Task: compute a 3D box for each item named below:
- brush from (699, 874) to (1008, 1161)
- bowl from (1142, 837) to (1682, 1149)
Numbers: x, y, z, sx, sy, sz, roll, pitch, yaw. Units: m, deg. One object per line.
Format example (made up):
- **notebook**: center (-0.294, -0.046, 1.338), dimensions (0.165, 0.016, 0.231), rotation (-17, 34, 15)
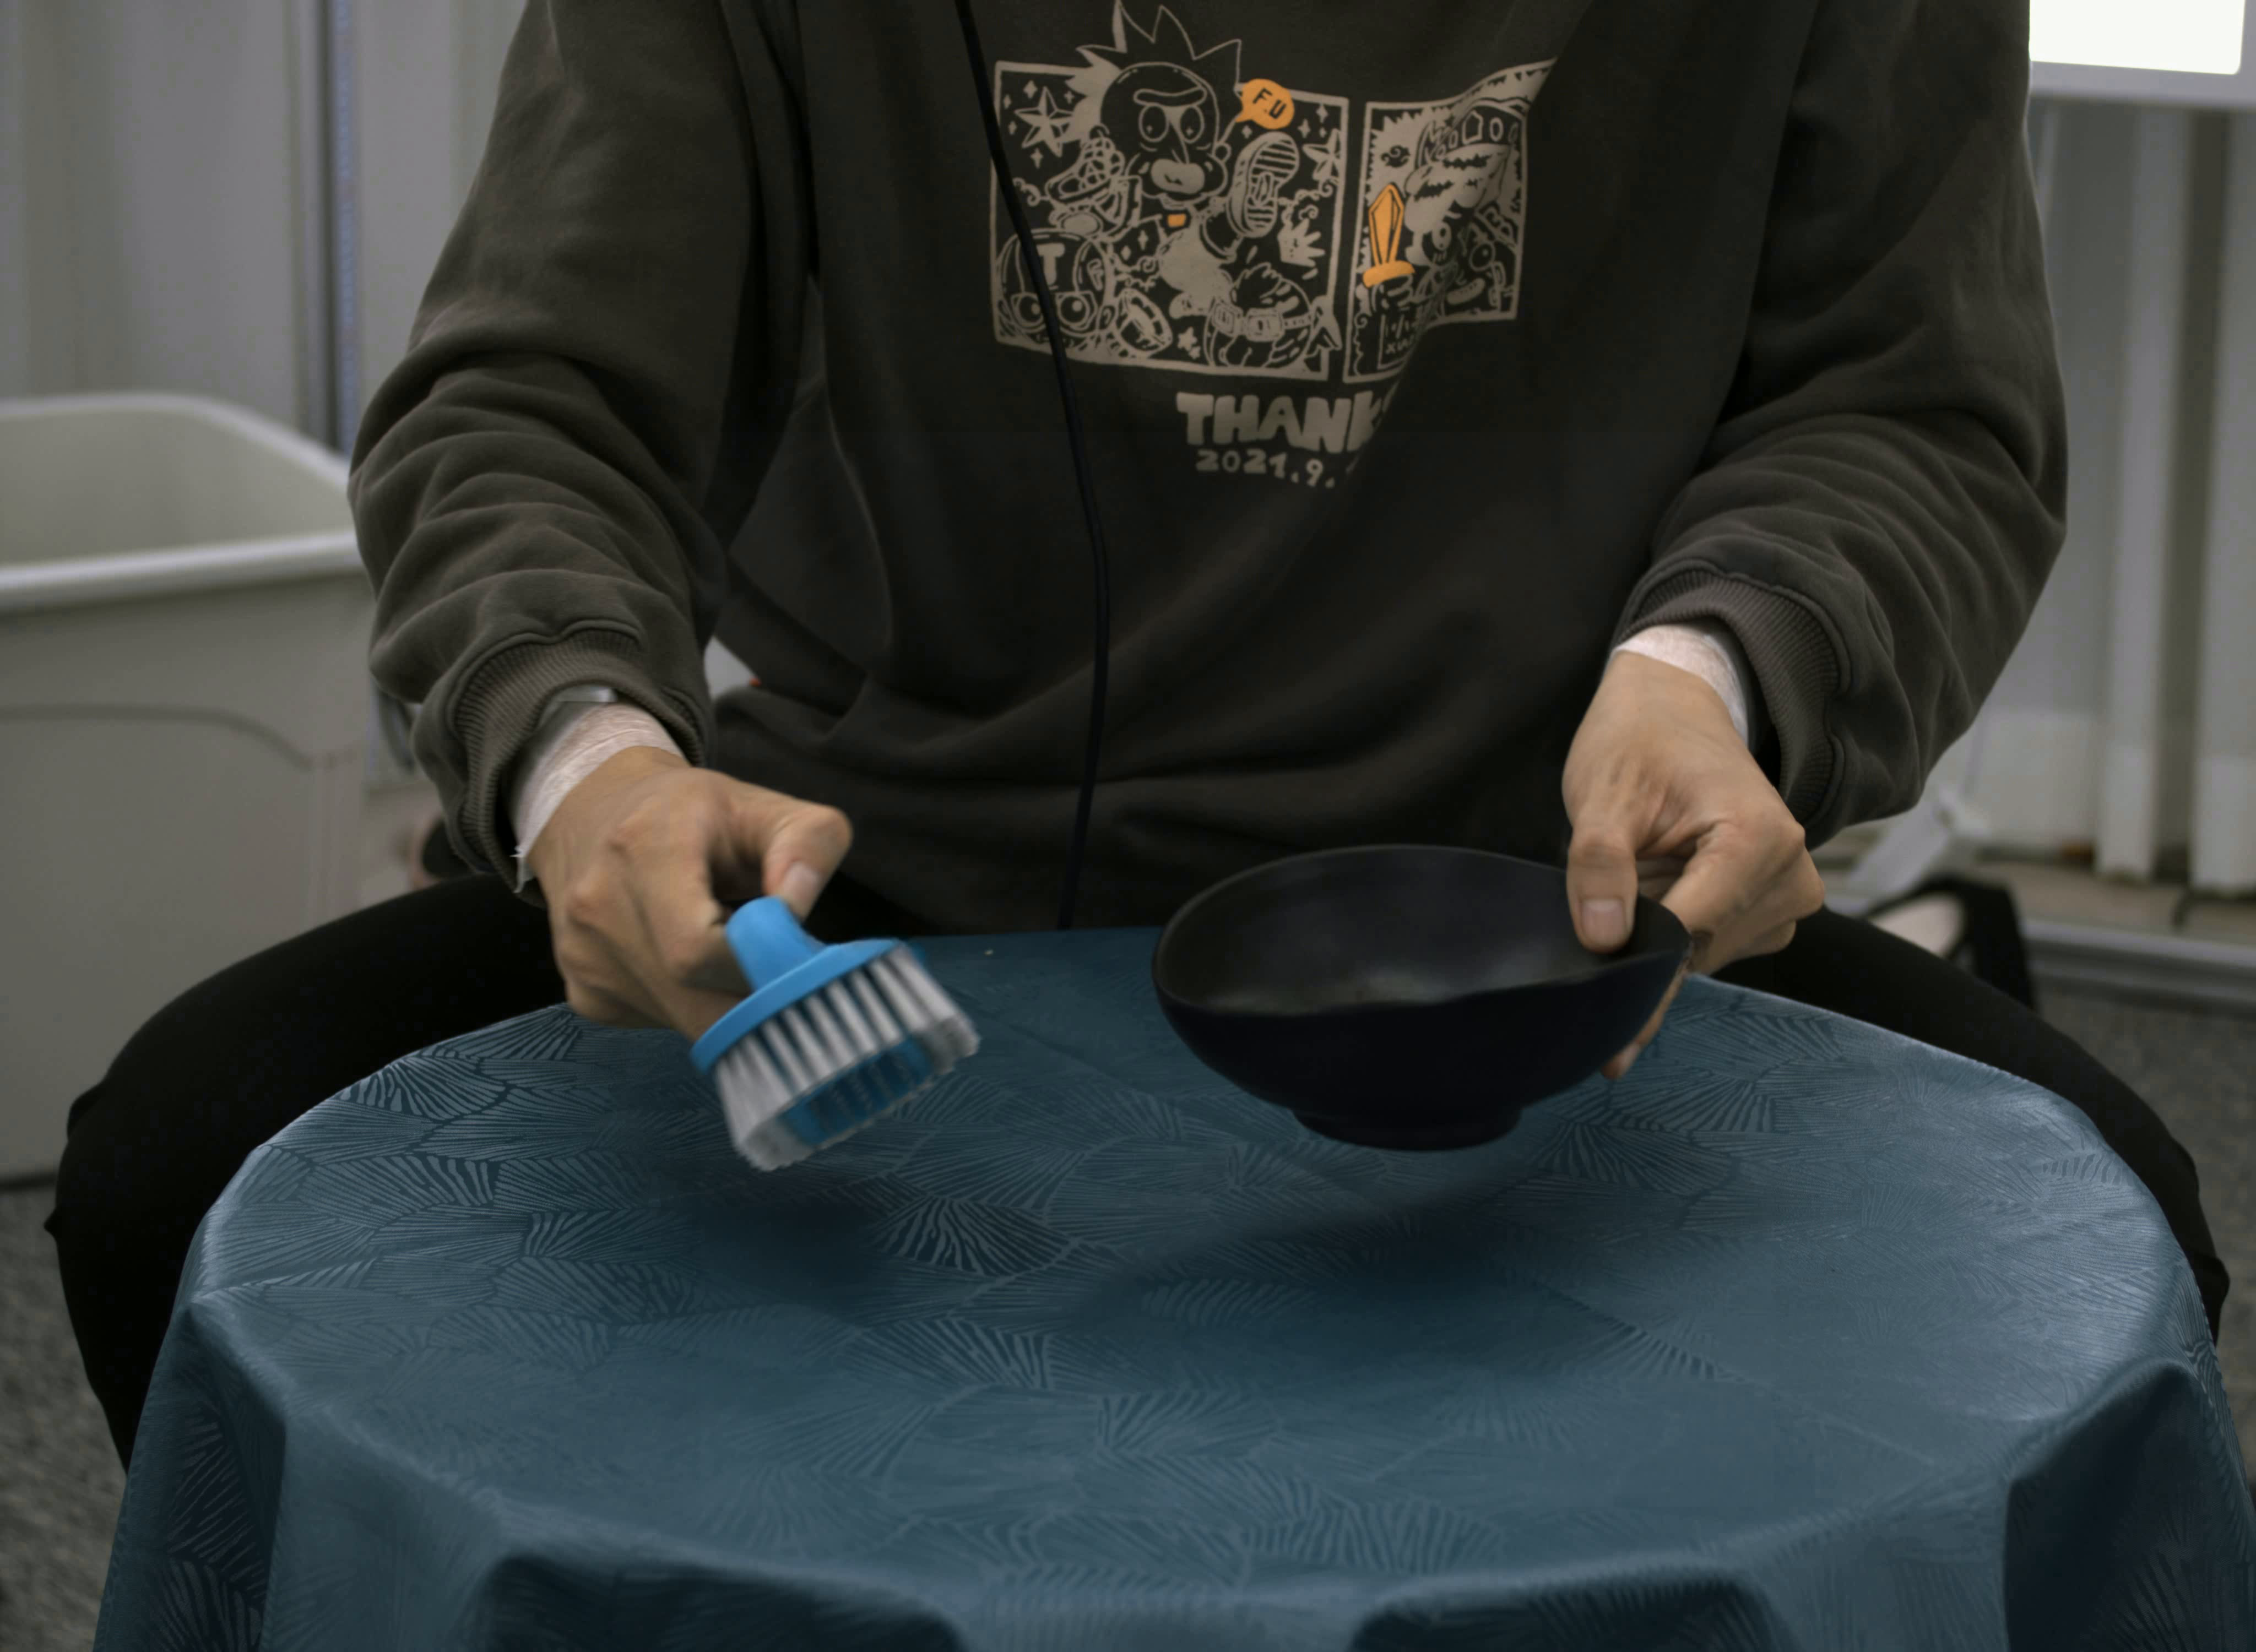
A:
- **brush**: center (-0.089, 0.049, 1.562), dimensions (0.084, 0.063, 0.142), rotation (-36, -10, -1)
- **bowl**: center (0.085, 0.055, 1.577), dimensions (0.171, 0.067, 0.135), rotation (-9, 20, -32)
